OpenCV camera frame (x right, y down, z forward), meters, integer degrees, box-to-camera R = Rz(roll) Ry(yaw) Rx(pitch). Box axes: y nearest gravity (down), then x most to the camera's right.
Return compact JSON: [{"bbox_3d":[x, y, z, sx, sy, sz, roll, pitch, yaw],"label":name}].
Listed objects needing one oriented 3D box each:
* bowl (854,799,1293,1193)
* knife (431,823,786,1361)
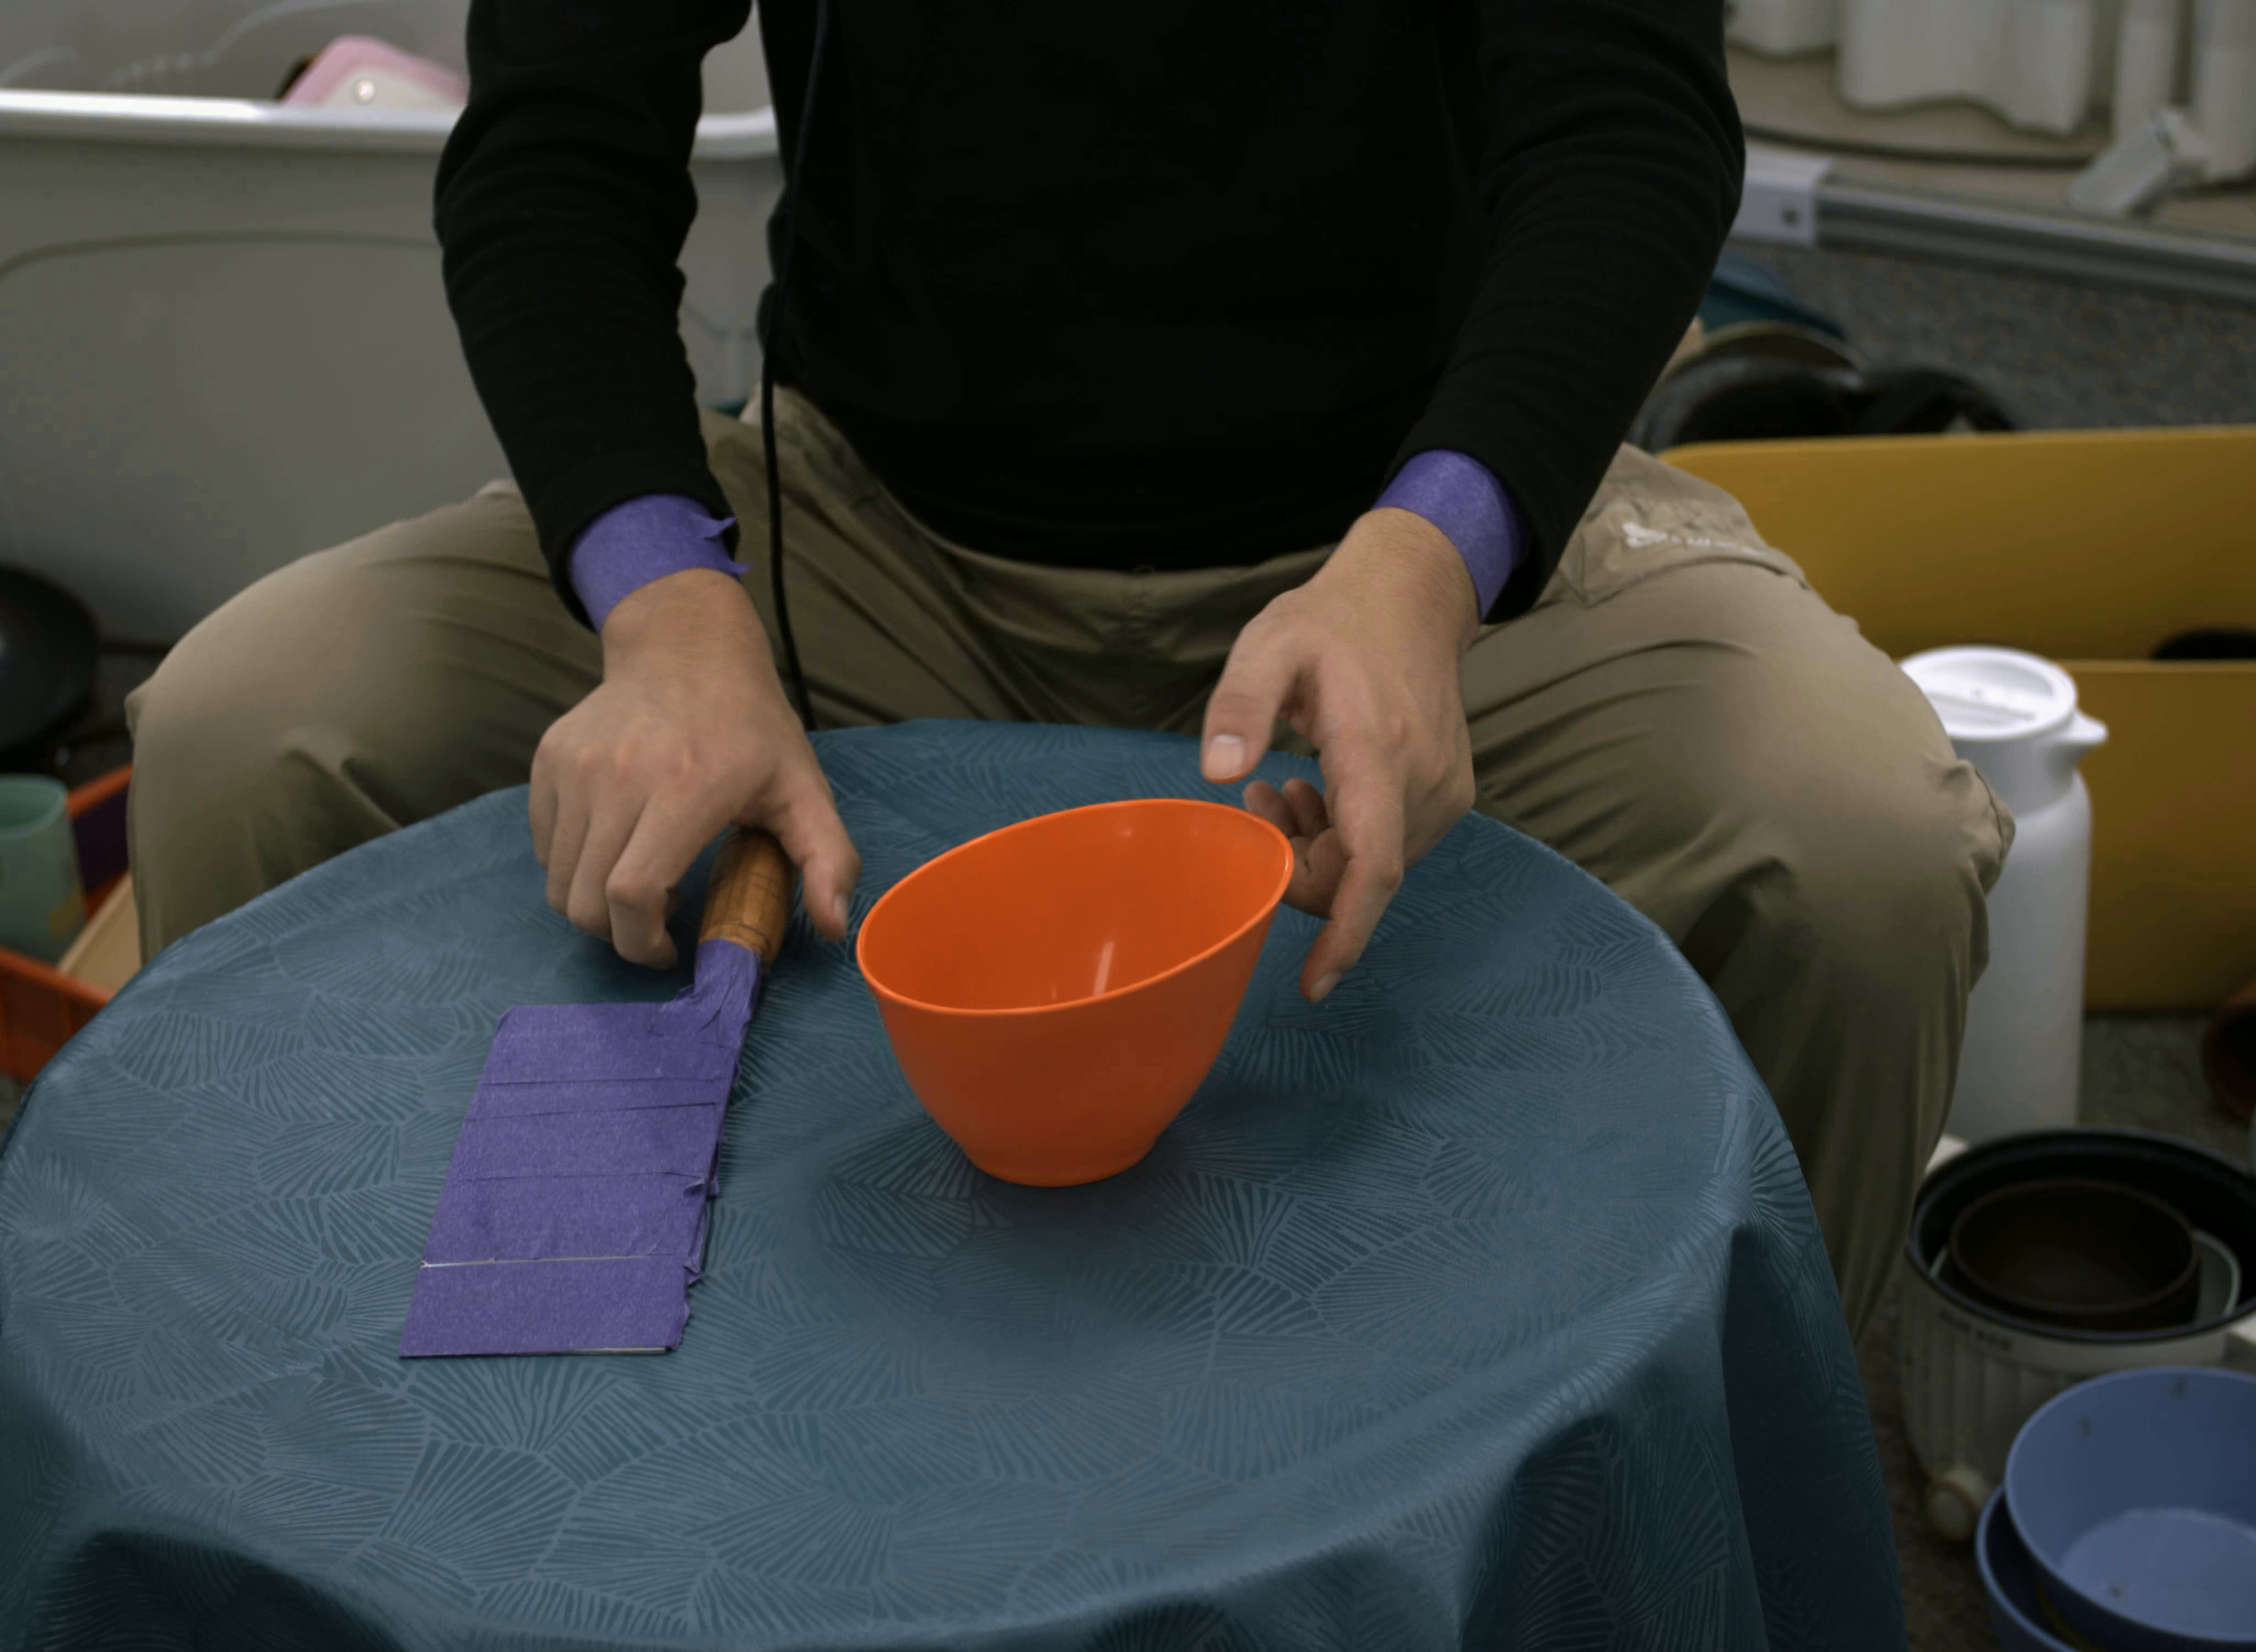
[{"bbox_3d":[-0.016,0.062,1.867,0.147,0.103,0.150,-3,28,2],"label":"bowl"},{"bbox_3d":[-0.177,0.087,1.915,0.103,0.032,0.320,0,28,4],"label":"knife"}]
